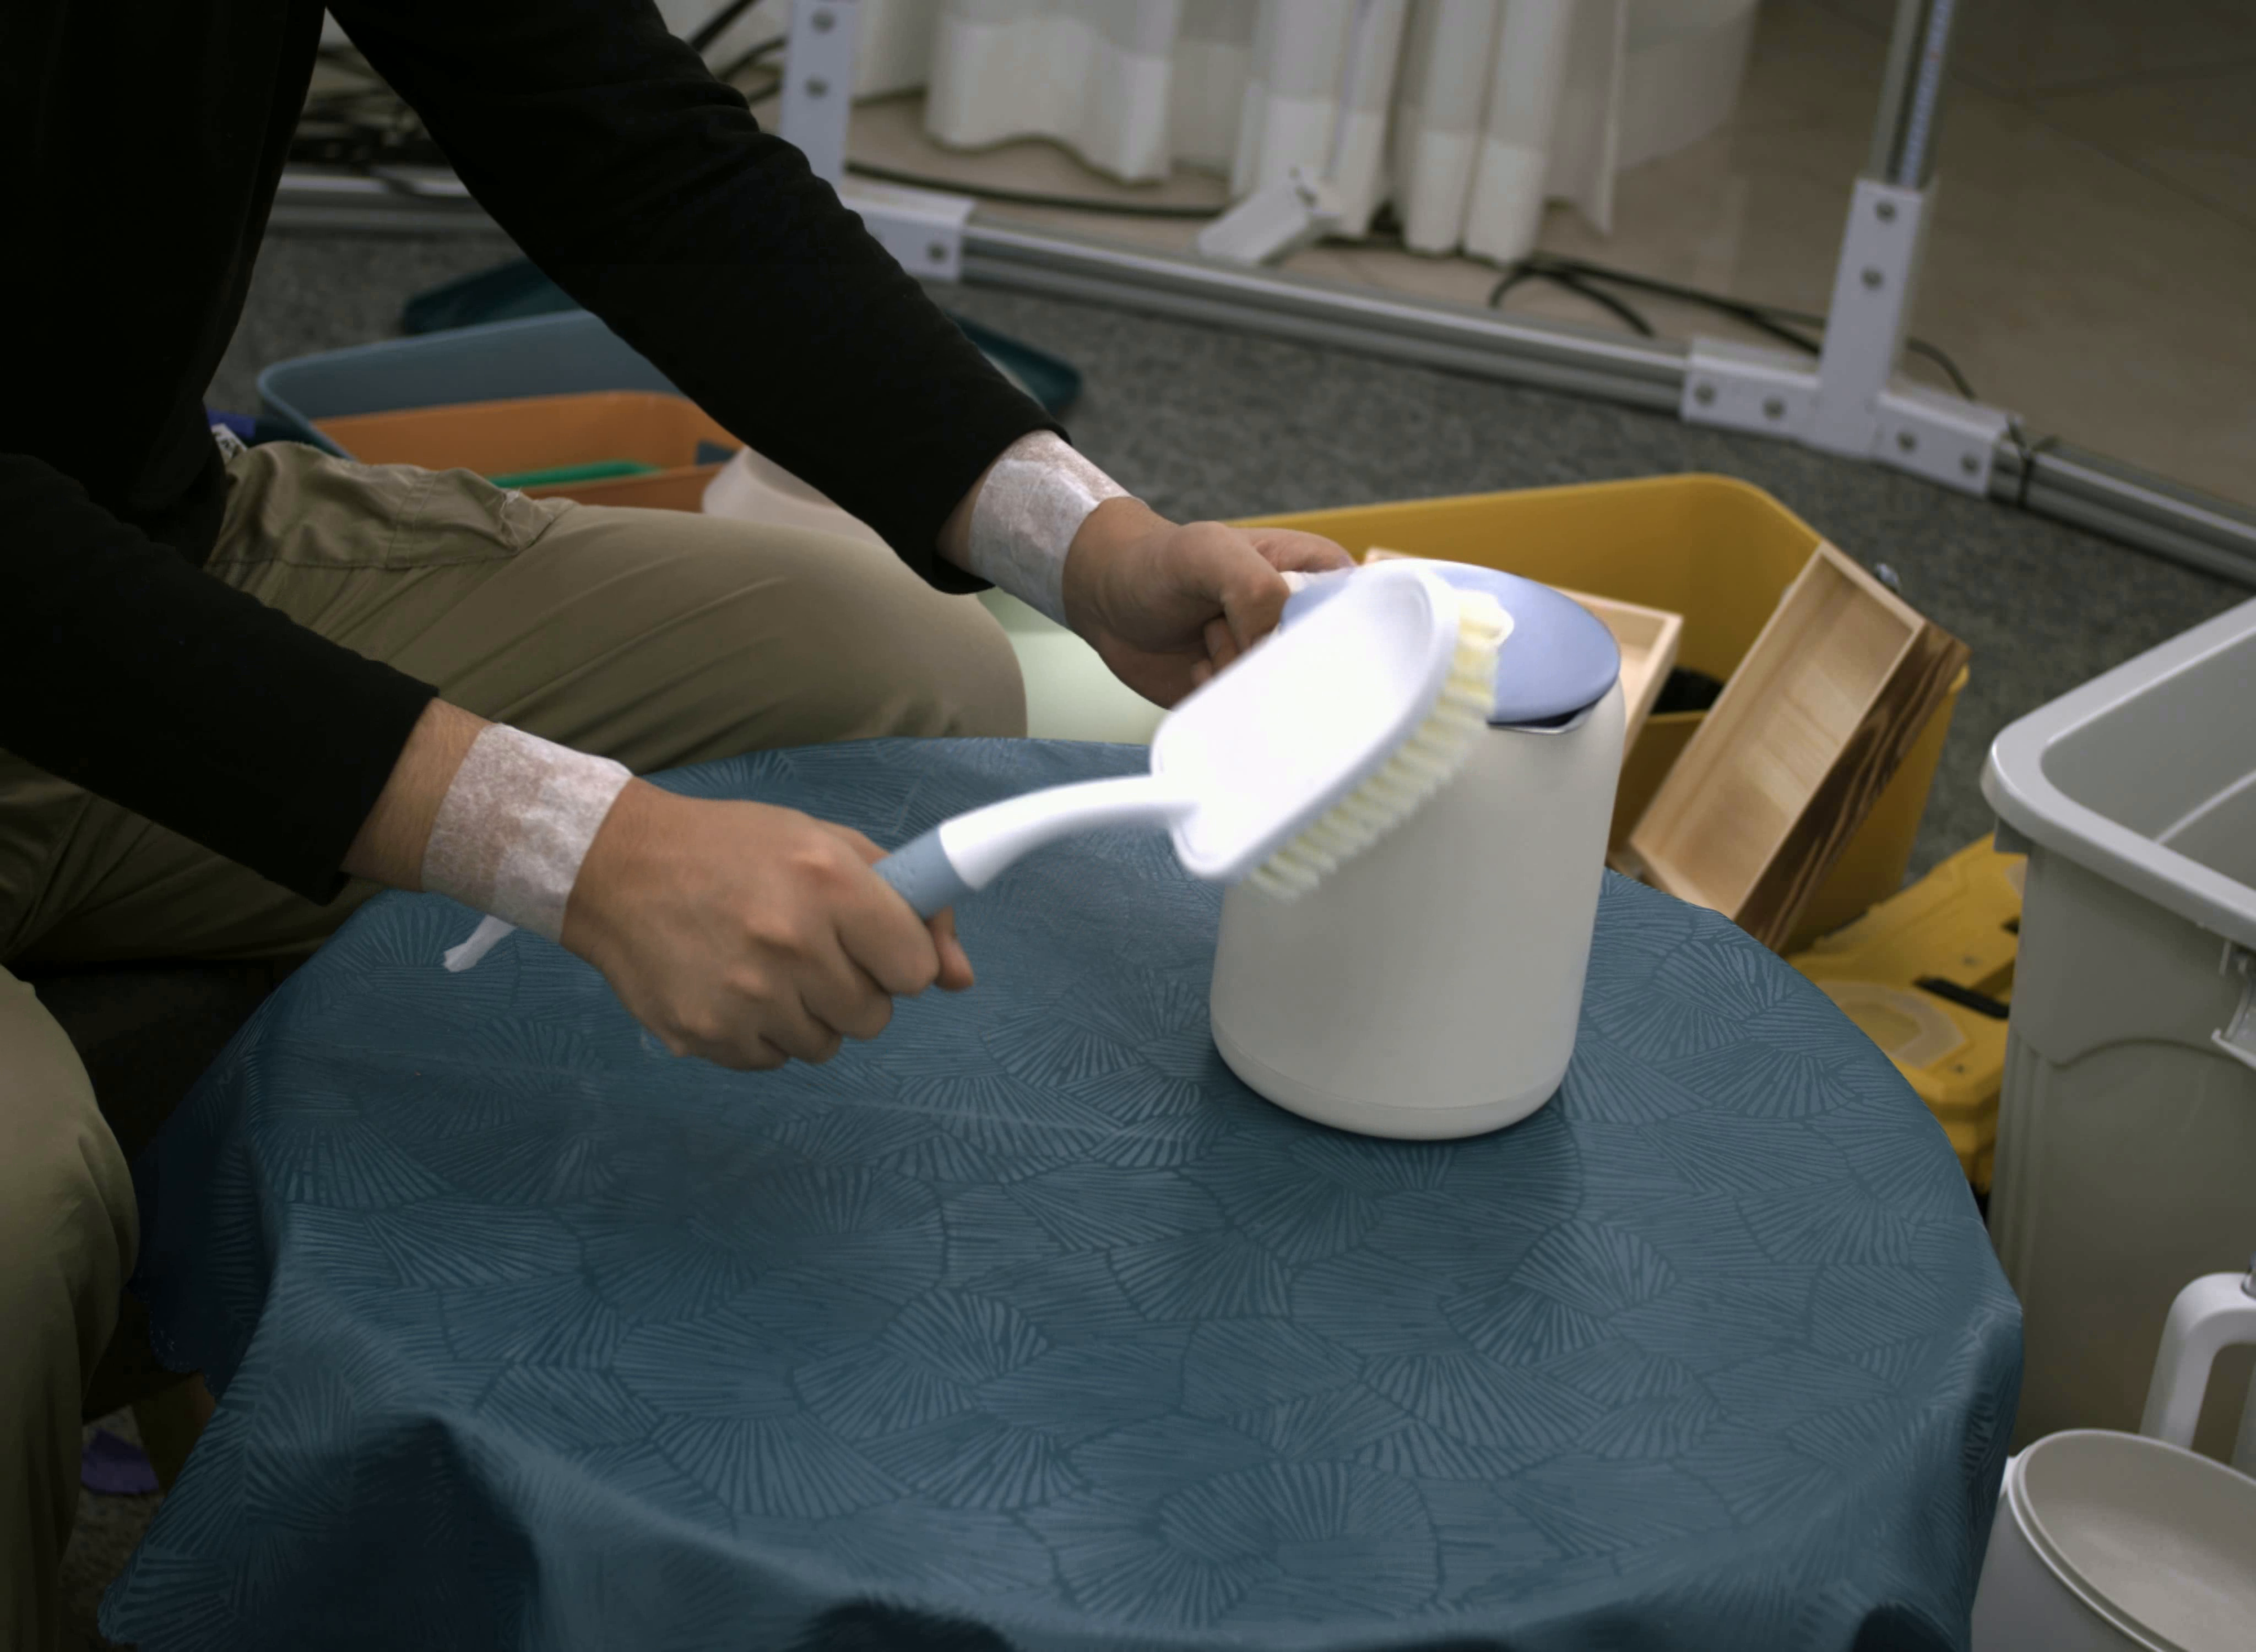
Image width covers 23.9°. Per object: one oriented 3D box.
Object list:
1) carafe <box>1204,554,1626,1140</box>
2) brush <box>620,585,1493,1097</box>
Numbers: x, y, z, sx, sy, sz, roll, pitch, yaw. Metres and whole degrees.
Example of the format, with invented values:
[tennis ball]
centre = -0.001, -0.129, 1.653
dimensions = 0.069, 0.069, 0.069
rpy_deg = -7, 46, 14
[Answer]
[carafe]
centre = 0.088, -0.004, 1.882
dimensions = 0.131, 0.182, 0.193
rpy_deg = -12, 31, -33
[brush]
centre = -0.020, 0.016, 1.745
dimensions = 0.325, 0.084, 0.083
rpy_deg = -30, 15, 16
